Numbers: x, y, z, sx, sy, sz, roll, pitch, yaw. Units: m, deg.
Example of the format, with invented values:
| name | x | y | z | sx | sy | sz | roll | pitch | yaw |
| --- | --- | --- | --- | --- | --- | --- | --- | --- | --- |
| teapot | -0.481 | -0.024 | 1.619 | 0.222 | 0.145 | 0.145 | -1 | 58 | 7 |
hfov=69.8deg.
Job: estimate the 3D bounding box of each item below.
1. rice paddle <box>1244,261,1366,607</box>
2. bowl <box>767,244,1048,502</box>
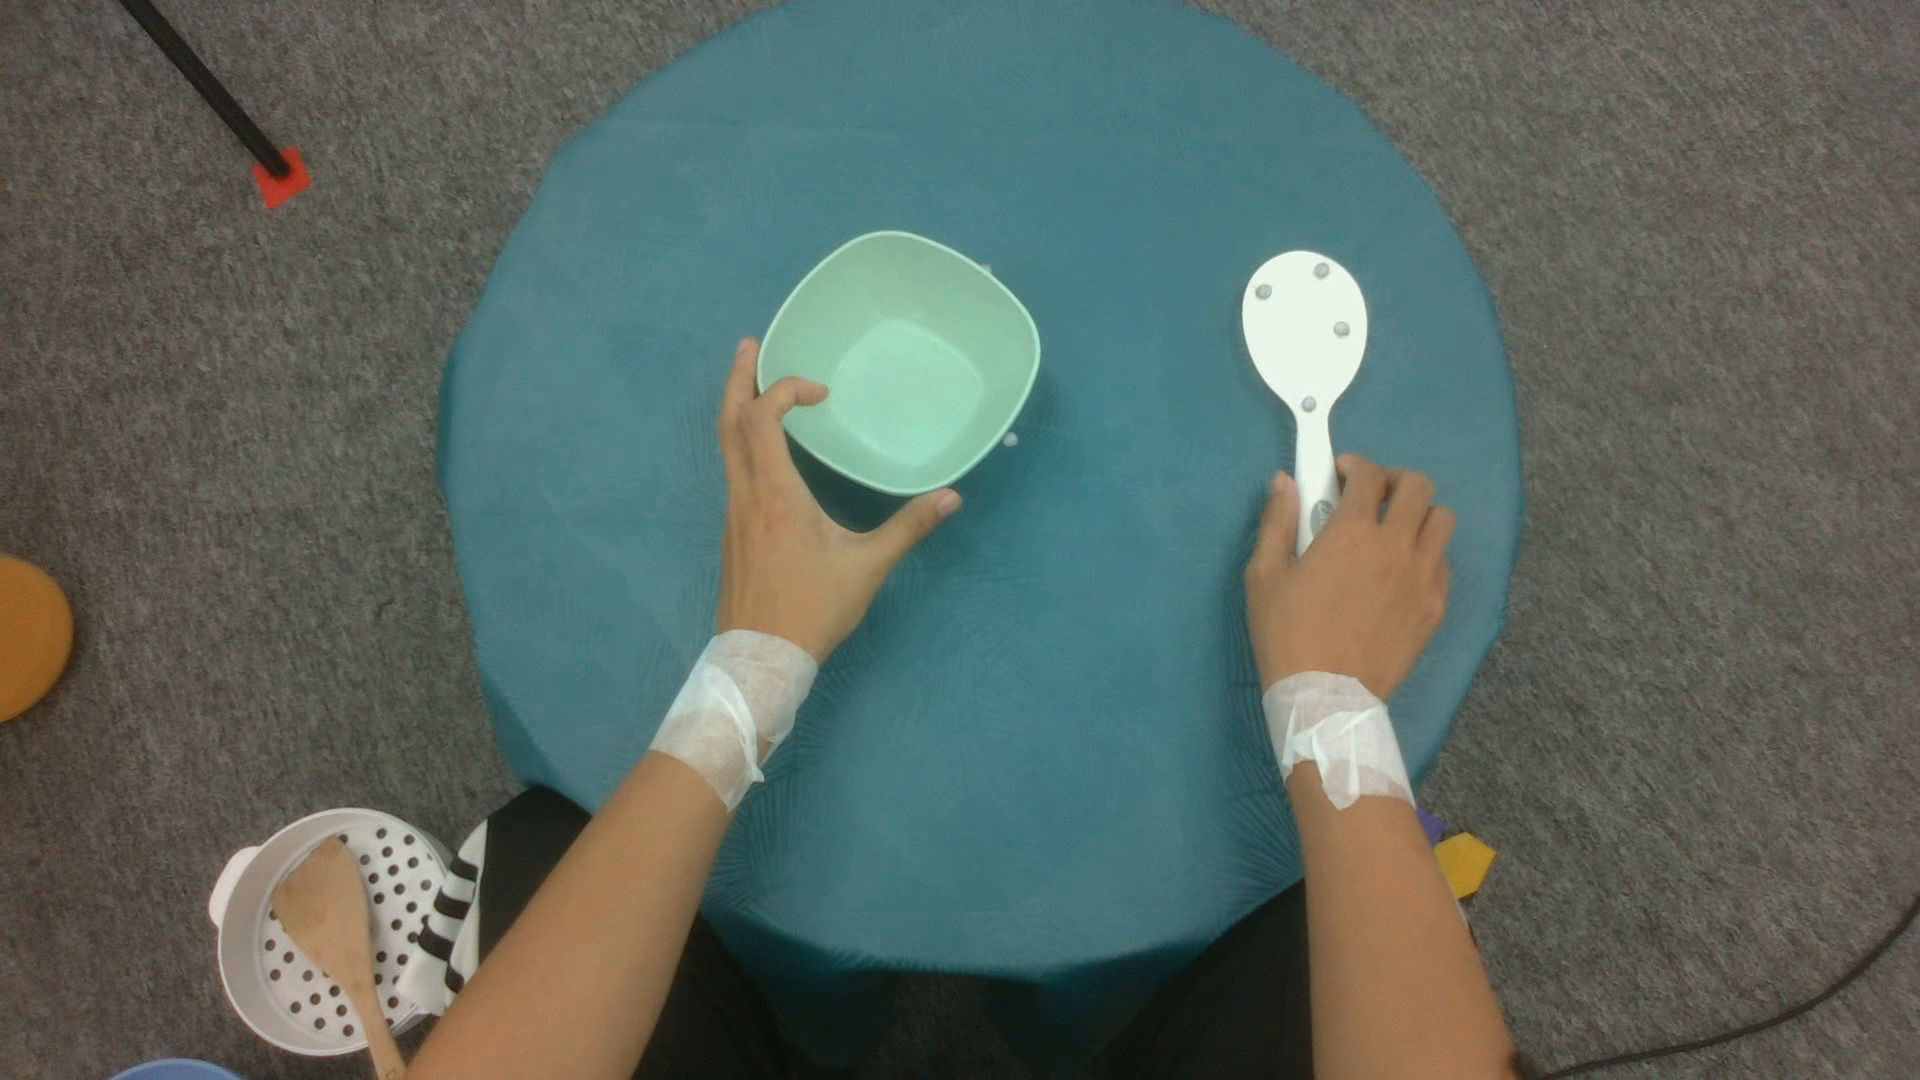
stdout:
| name | x | y | z | sx | sy | sz | roll | pitch | yaw |
| --- | --- | --- | --- | --- | --- | --- | --- | --- | --- |
| rice paddle | 0.198 | -0.065 | 0.767 | 0.069 | 0.029 | 0.206 | -2 | 73 | 2 |
| bowl | -0.028 | -0.084 | 0.762 | 0.151 | 0.058 | 0.152 | 0 | 71 | -1 |
